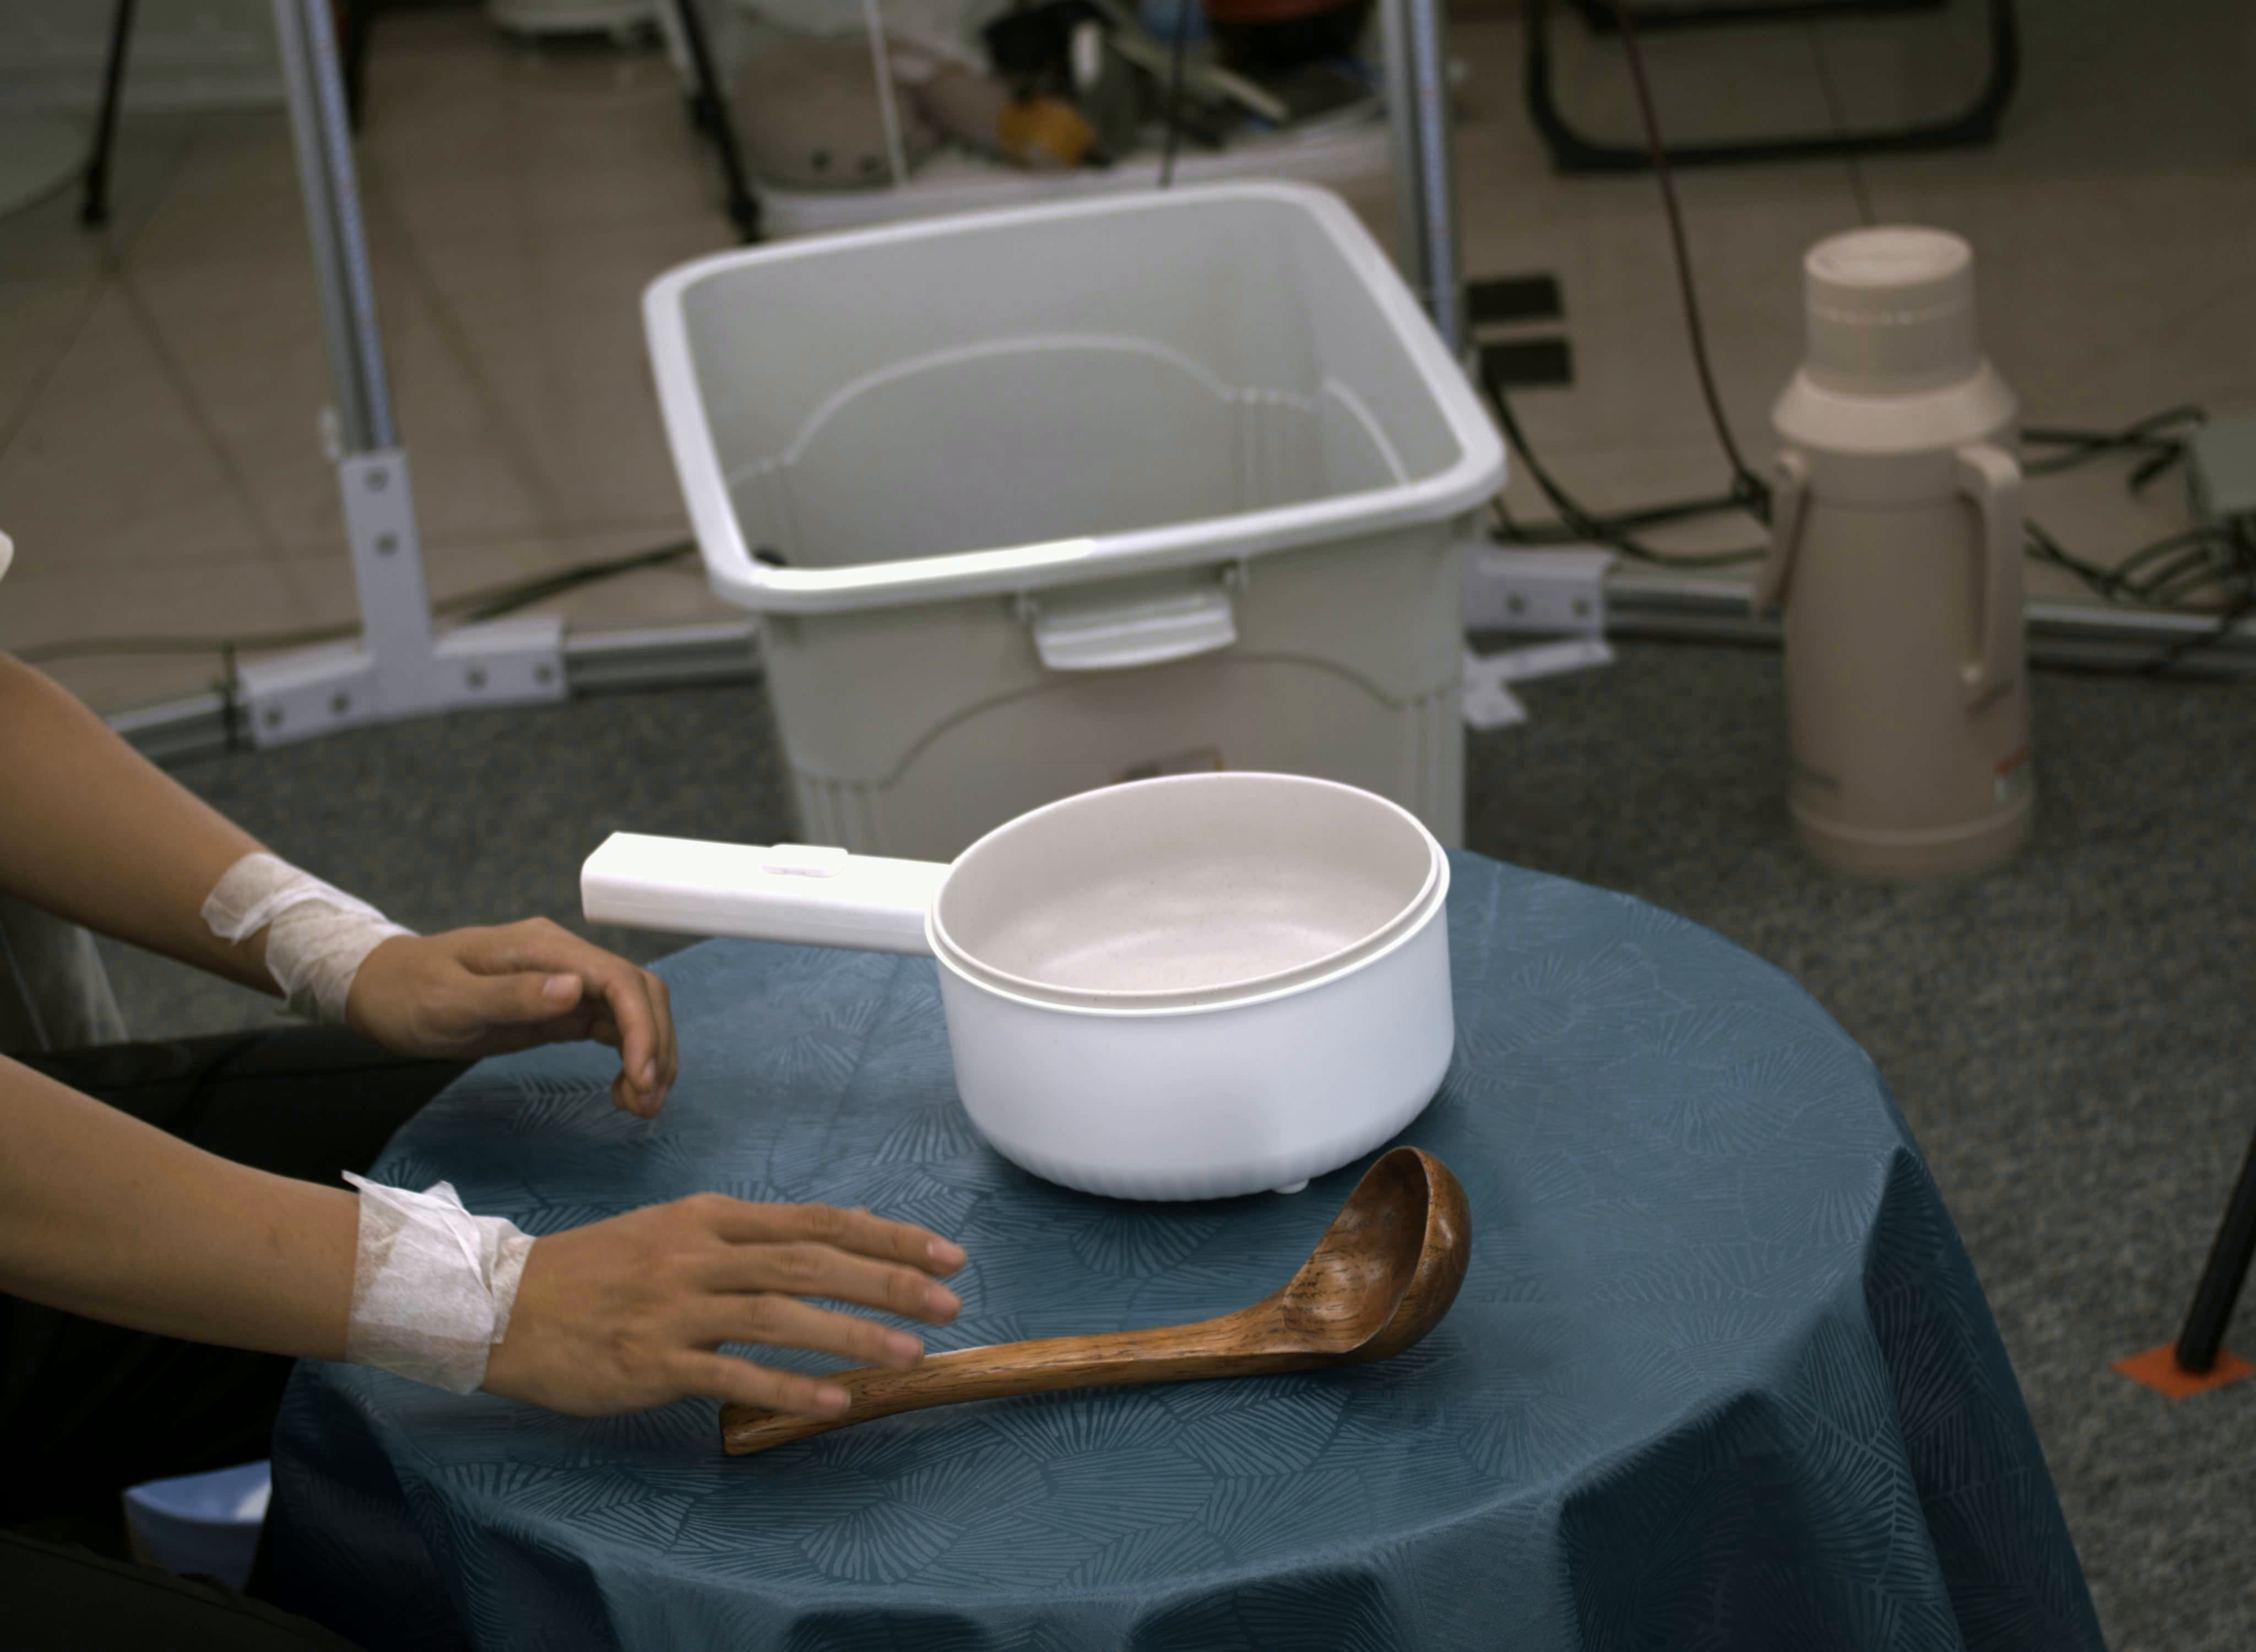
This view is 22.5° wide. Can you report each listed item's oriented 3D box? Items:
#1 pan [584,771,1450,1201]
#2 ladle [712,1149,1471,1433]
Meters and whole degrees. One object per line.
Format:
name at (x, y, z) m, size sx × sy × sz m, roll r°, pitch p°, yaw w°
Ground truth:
pan at (-0.045, 0.060, 2.212) m, size 0.354 × 0.104 × 0.198 m, roll 4°, pitch 28°, yaw 23°
ladle at (-0.014, 0.166, 2.001) m, size 0.273 × 0.078 × 0.080 m, roll -6°, pitch 28°, yaw -2°
